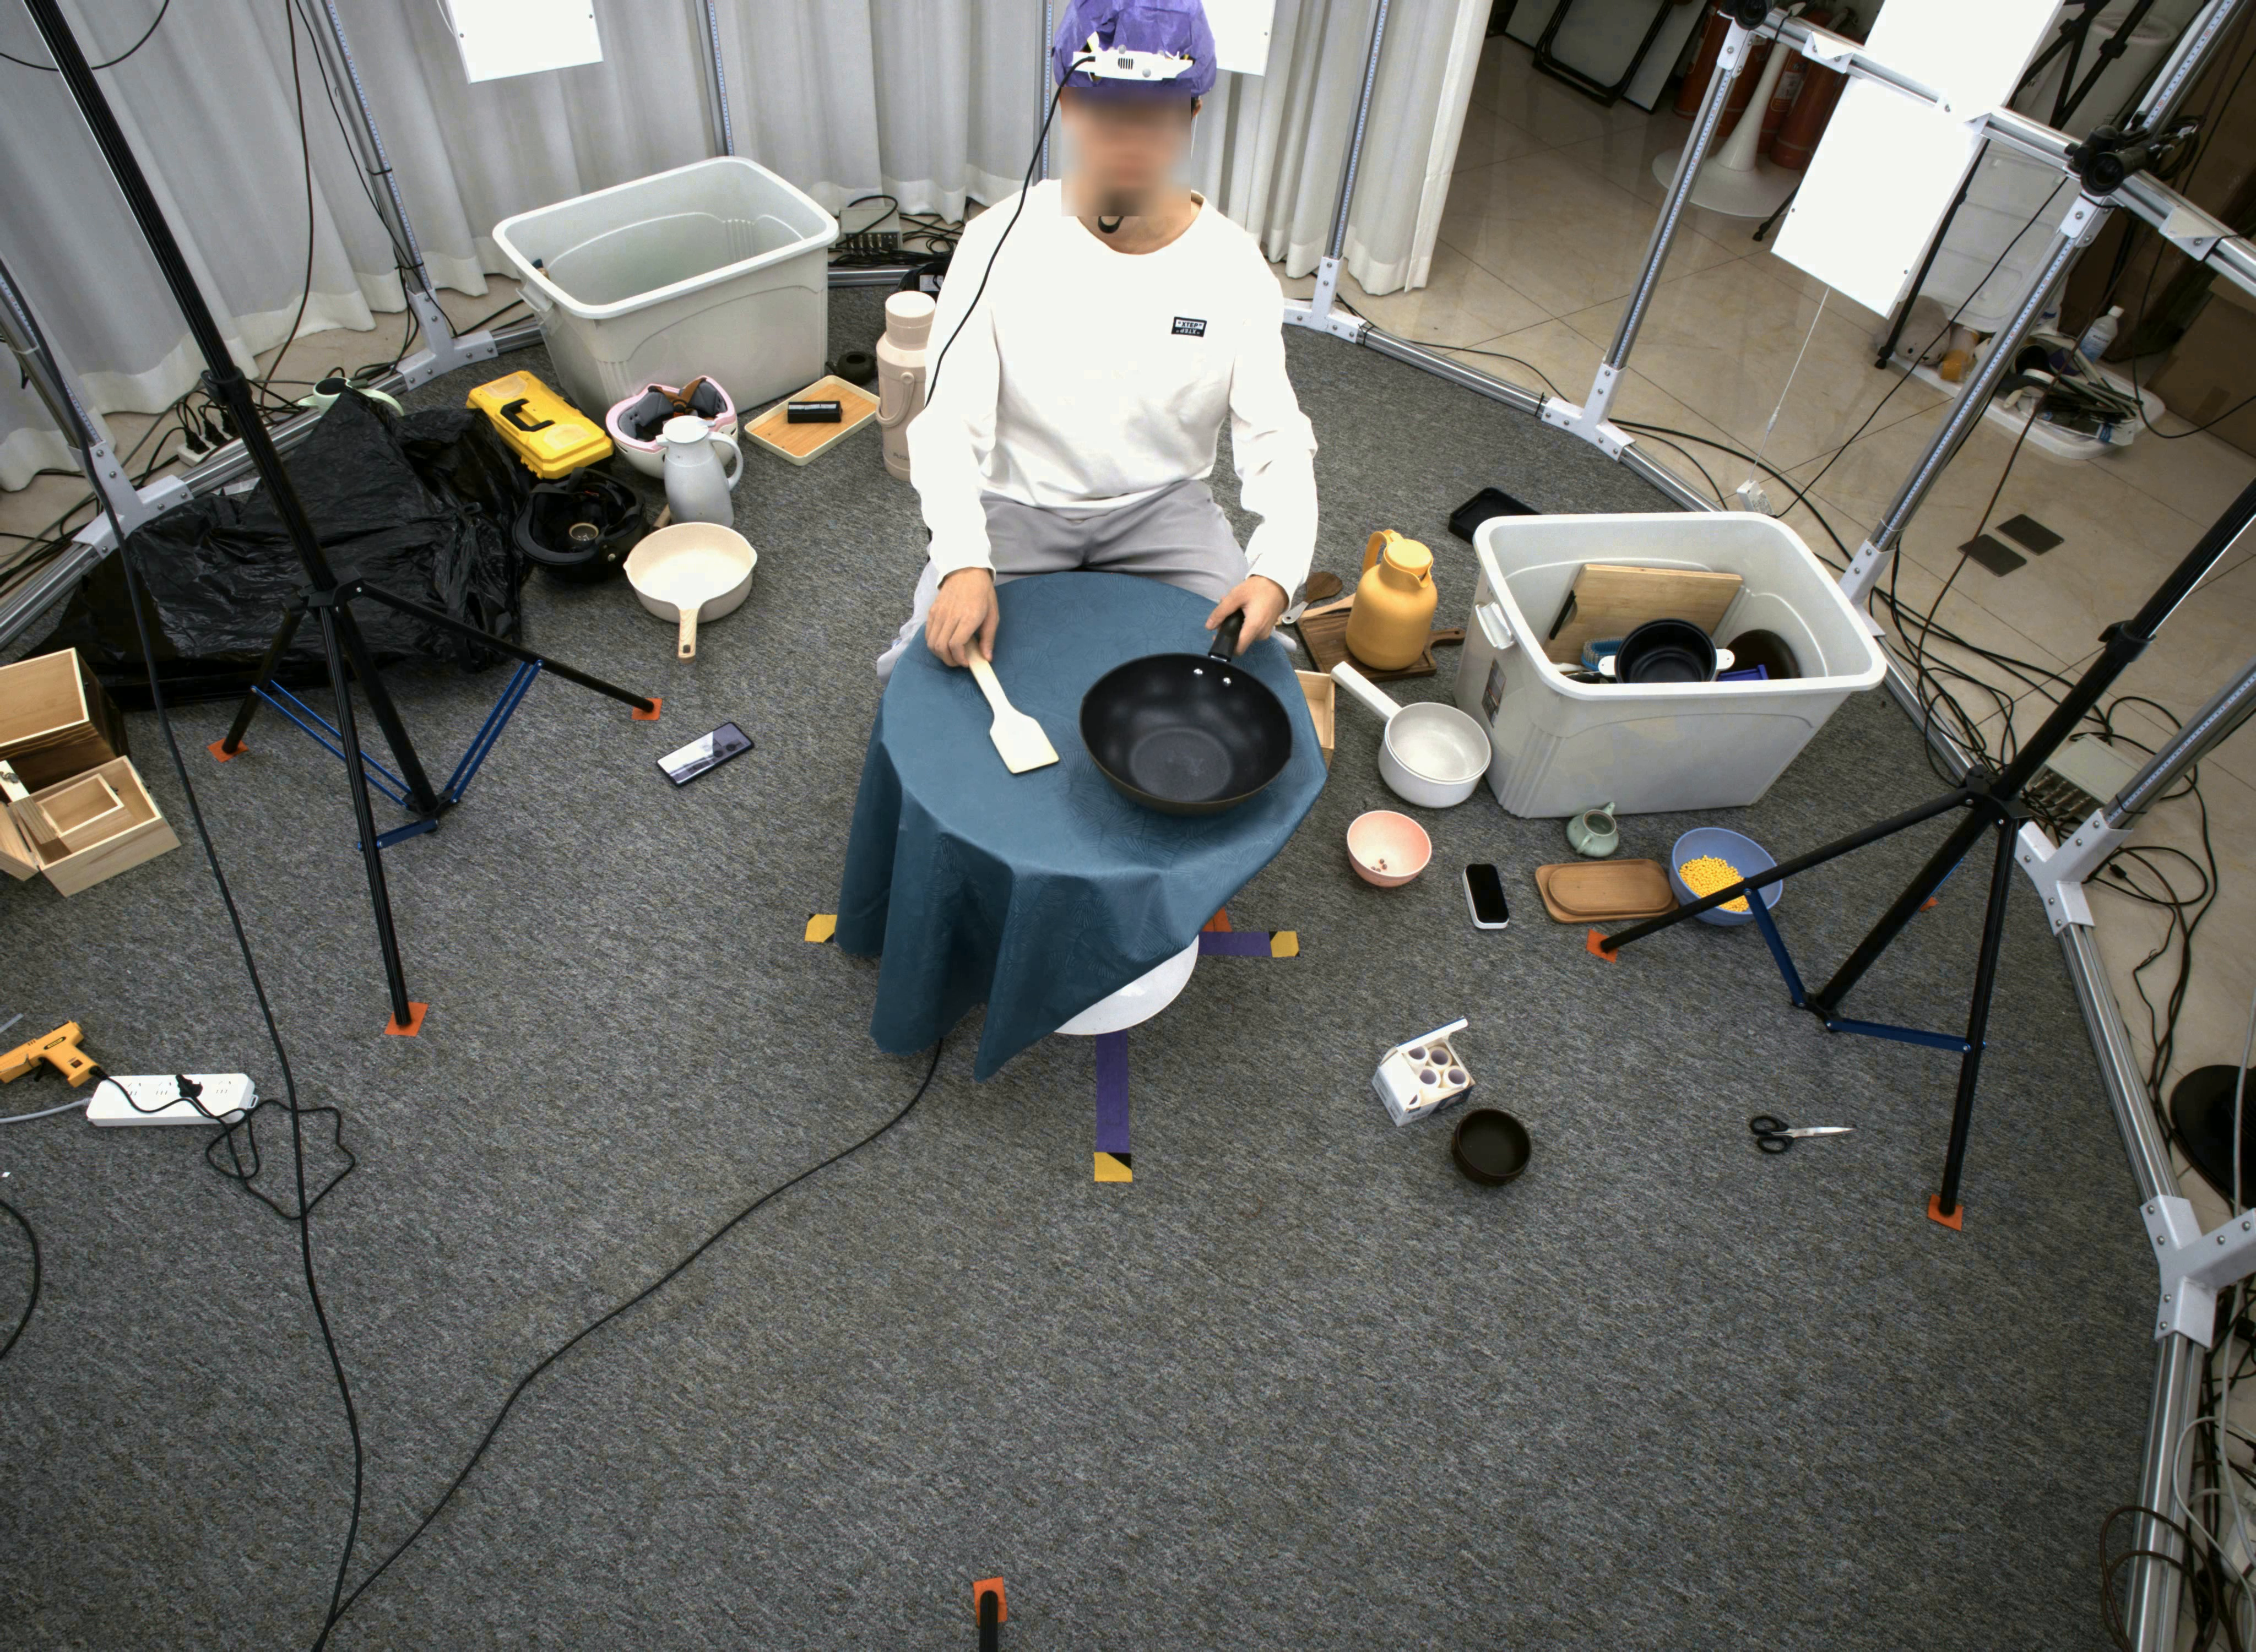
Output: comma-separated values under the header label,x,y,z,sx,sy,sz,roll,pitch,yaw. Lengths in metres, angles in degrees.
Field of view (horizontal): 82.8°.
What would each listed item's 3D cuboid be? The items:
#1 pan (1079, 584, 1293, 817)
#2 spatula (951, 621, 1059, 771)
label,x,y,z,sx,sy,sz,roll,pitch,yaw
pan,0.104,-0.173,1.769,0.289,0.085,0.473,18,49,10
spatula,-0.187,-0.188,1.803,0.072,0.010,0.299,-17,55,-19
